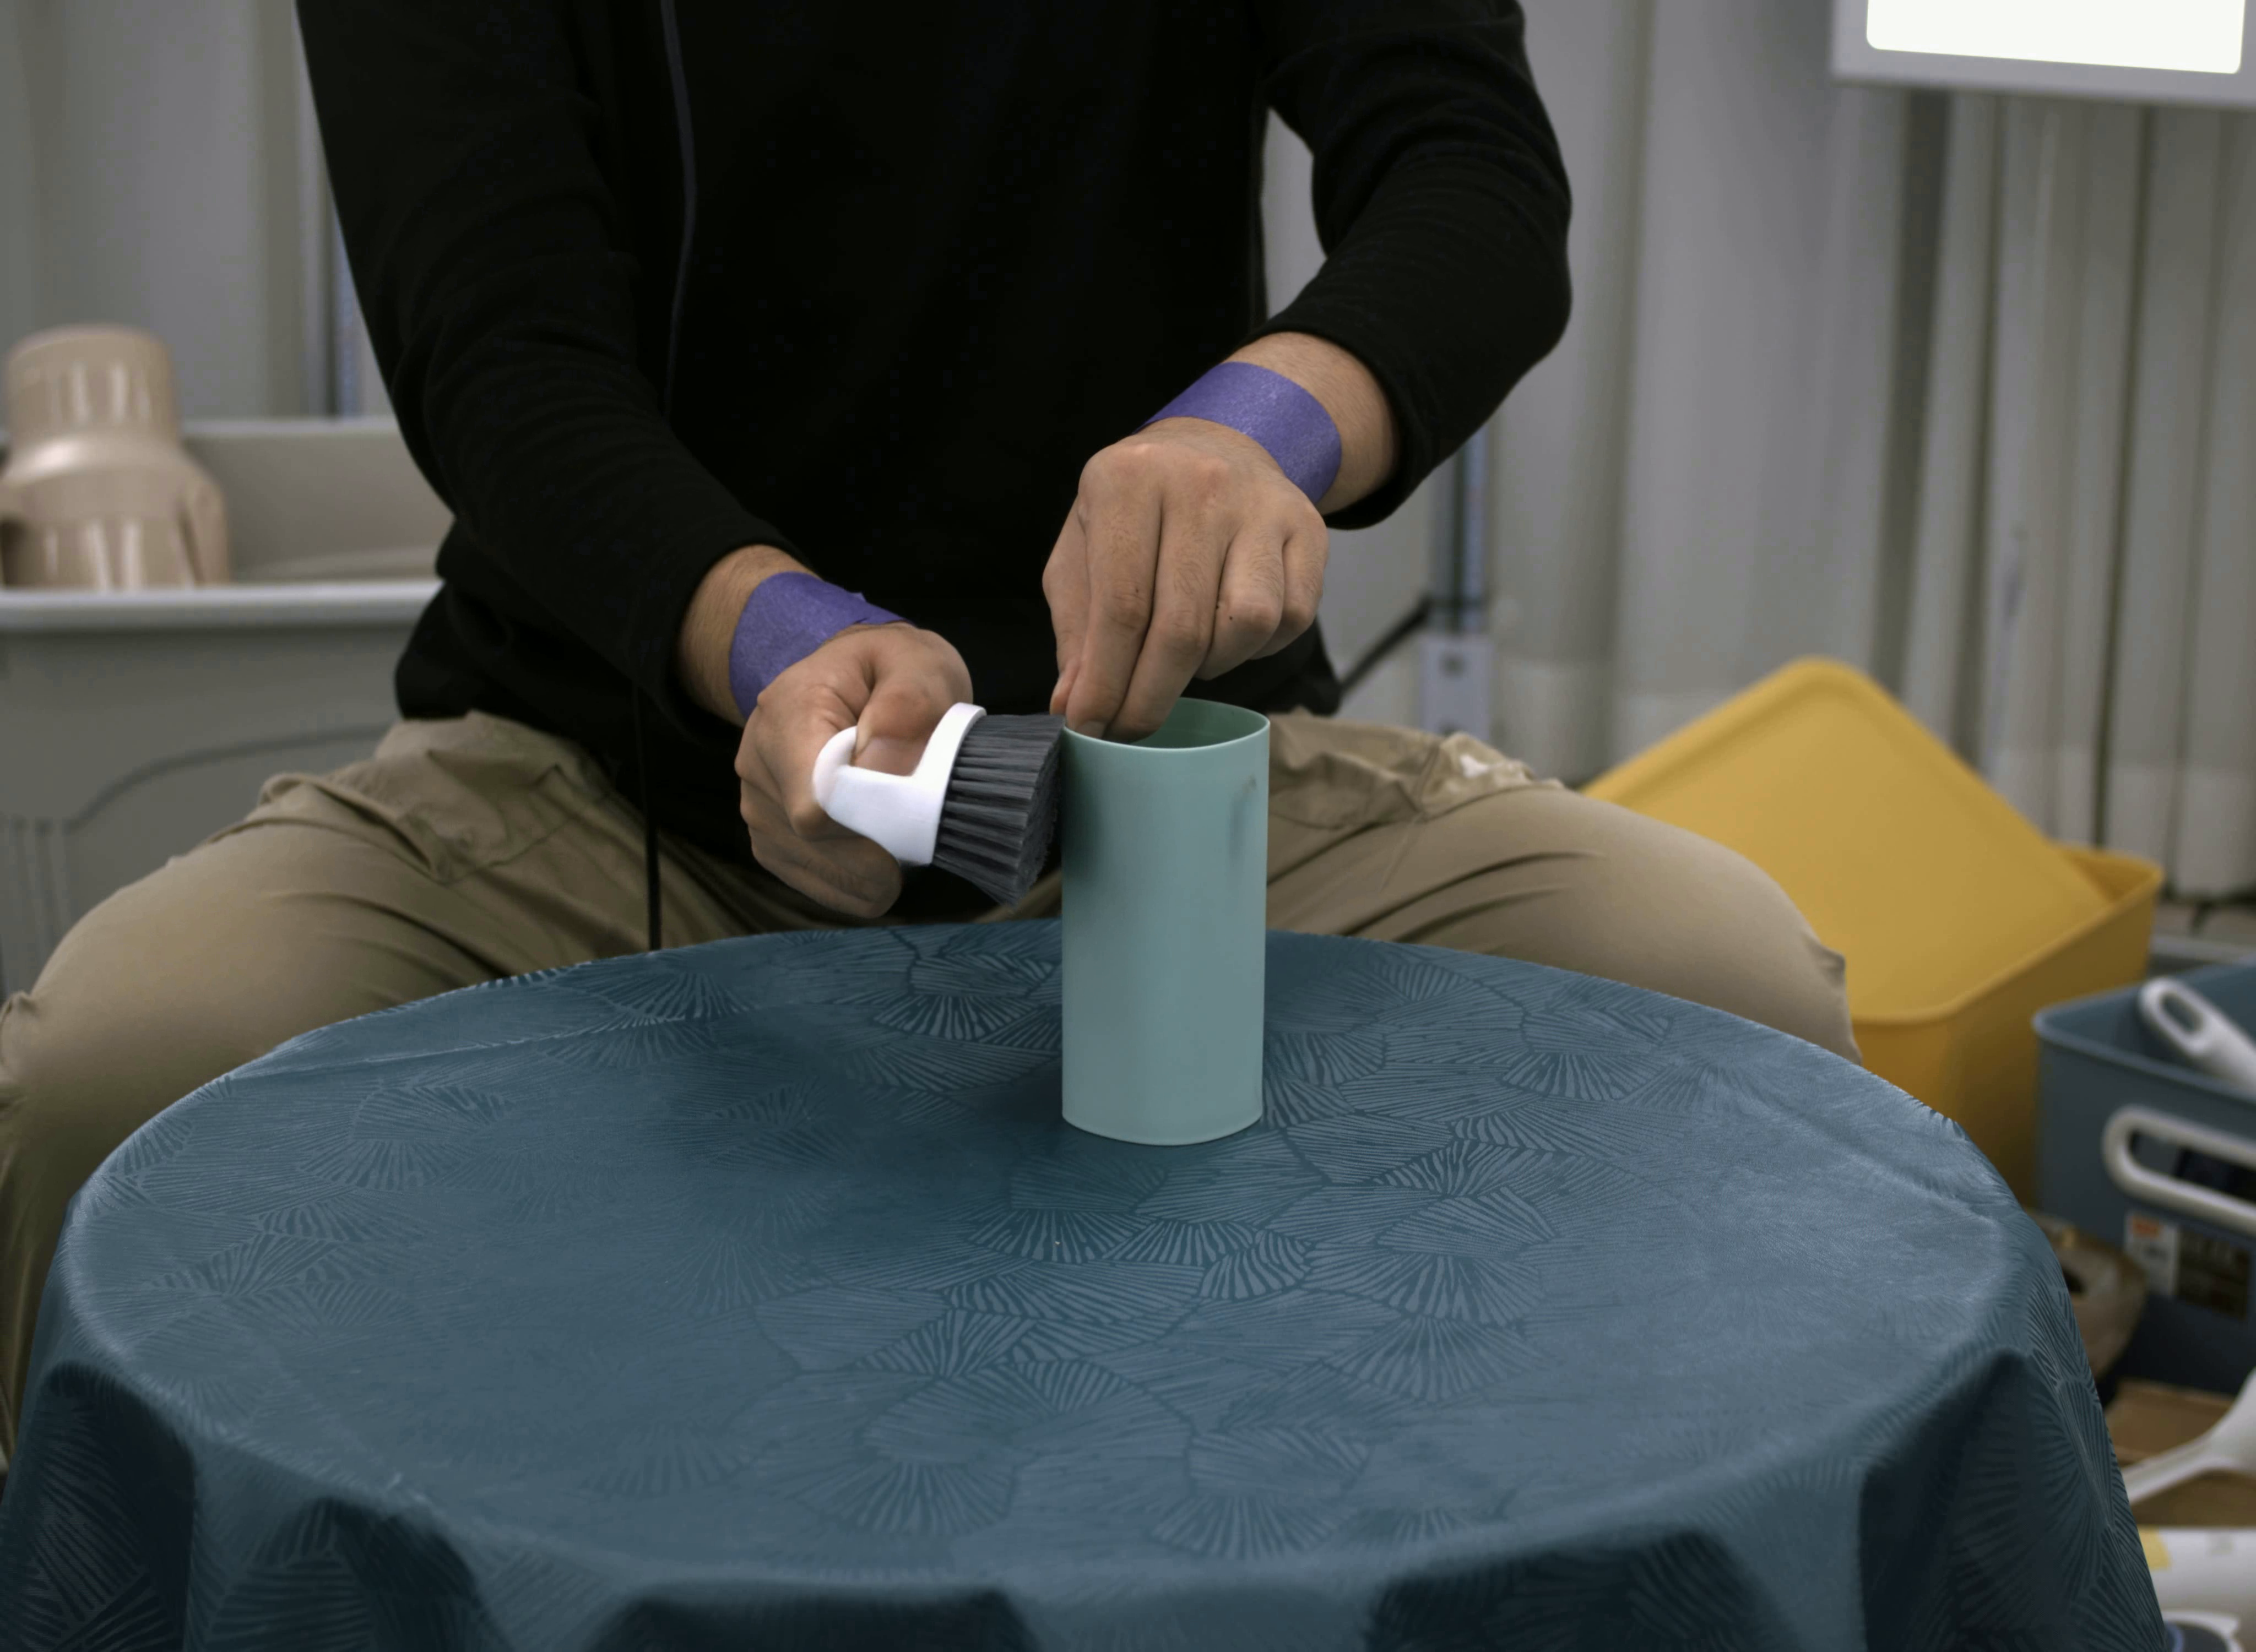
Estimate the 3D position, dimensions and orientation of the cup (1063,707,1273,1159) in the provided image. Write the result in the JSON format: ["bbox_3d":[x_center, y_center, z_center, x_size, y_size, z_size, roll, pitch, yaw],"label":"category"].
[{"bbox_3d":[0.011,0.033,1.676,0.066,0.133,0.066,1,17,0],"label":"cup"}]

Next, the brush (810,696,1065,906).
[{"bbox_3d":[-0.062,-0.013,1.638,0.072,0.050,0.099,12,16,3],"label":"brush"}]
